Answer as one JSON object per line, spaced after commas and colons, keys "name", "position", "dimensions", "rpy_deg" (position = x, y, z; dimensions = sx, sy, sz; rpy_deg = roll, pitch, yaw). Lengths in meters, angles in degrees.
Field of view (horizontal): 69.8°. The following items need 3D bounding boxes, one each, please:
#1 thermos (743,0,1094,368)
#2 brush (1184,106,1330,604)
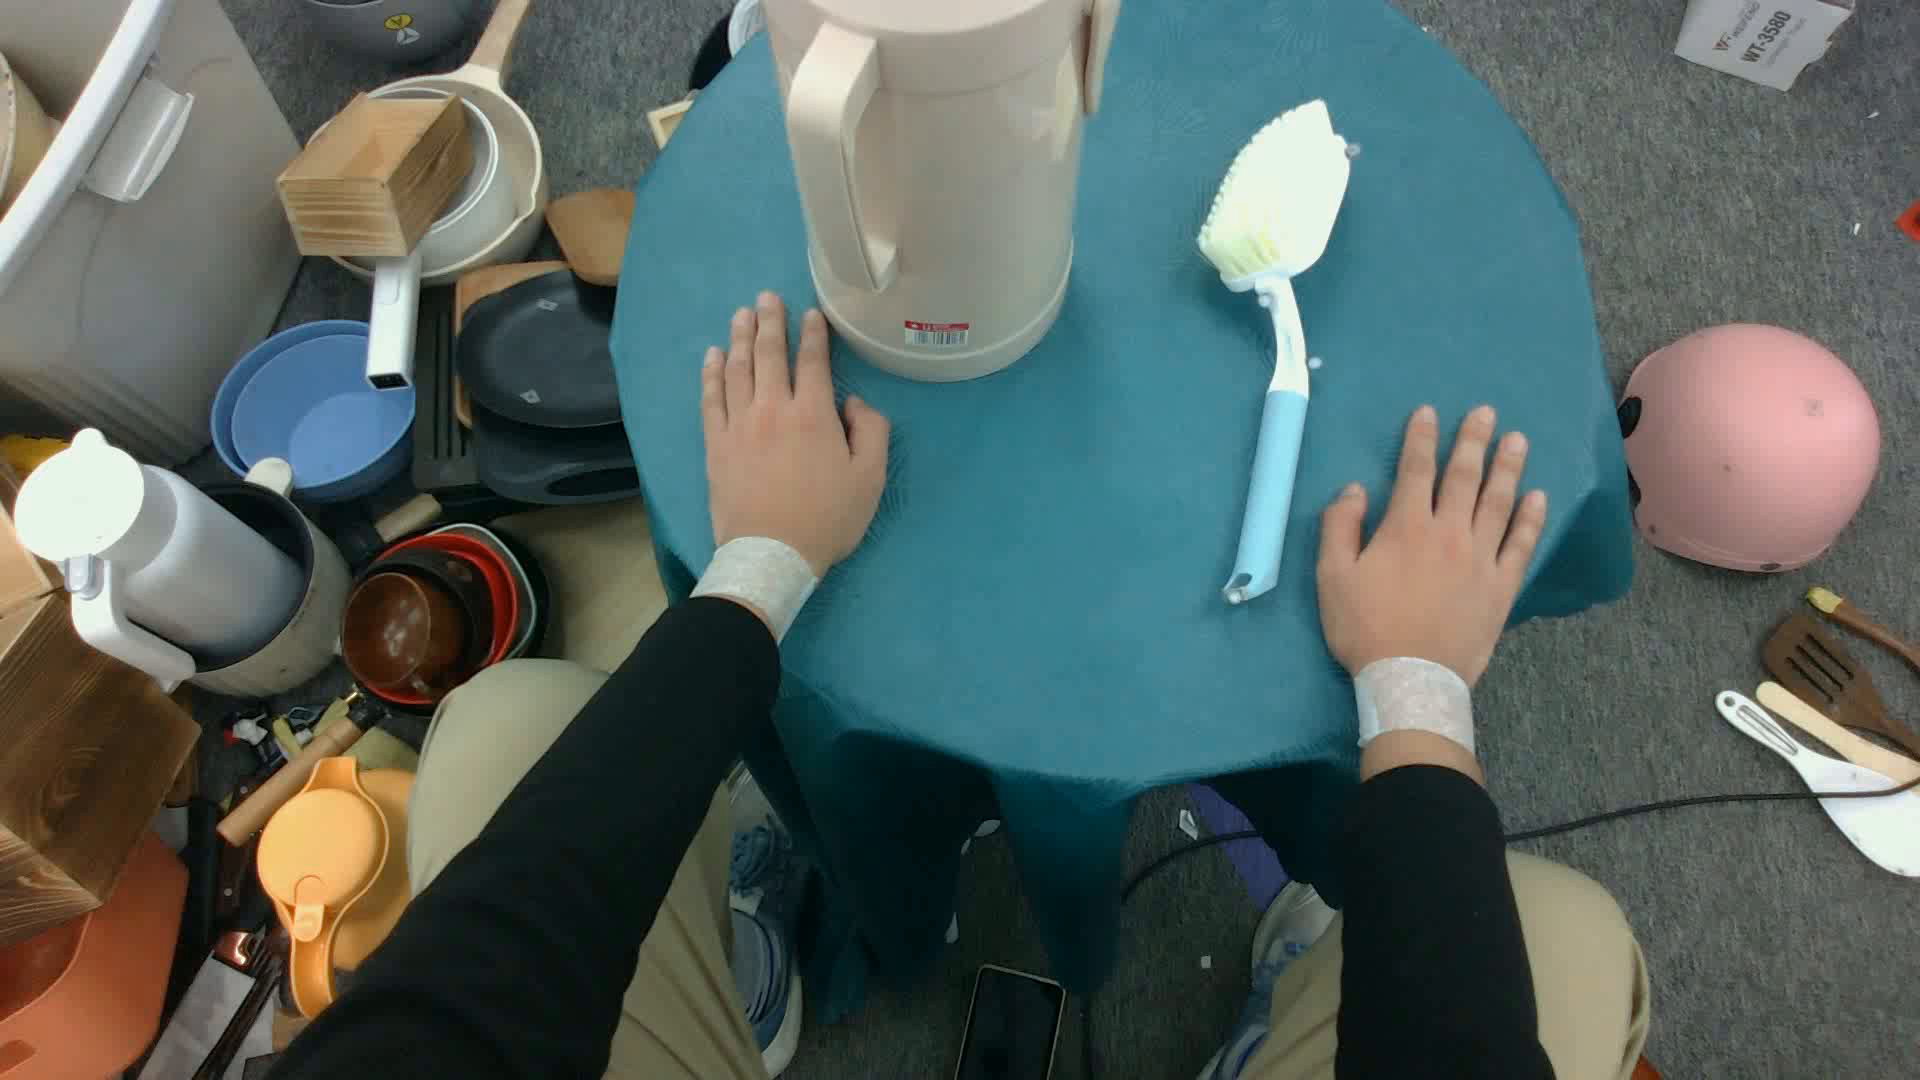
{"name": "thermos", "position": [-0.030, -0.232, 0.662], "dimensions": [0.175, 0.405, 0.208], "rpy_deg": [21, 70, 6]}
{"name": "brush", "position": [0.163, -0.123, 0.792], "dimensions": [0.084, 0.083, 0.326], "rpy_deg": [14, 68, 0]}
